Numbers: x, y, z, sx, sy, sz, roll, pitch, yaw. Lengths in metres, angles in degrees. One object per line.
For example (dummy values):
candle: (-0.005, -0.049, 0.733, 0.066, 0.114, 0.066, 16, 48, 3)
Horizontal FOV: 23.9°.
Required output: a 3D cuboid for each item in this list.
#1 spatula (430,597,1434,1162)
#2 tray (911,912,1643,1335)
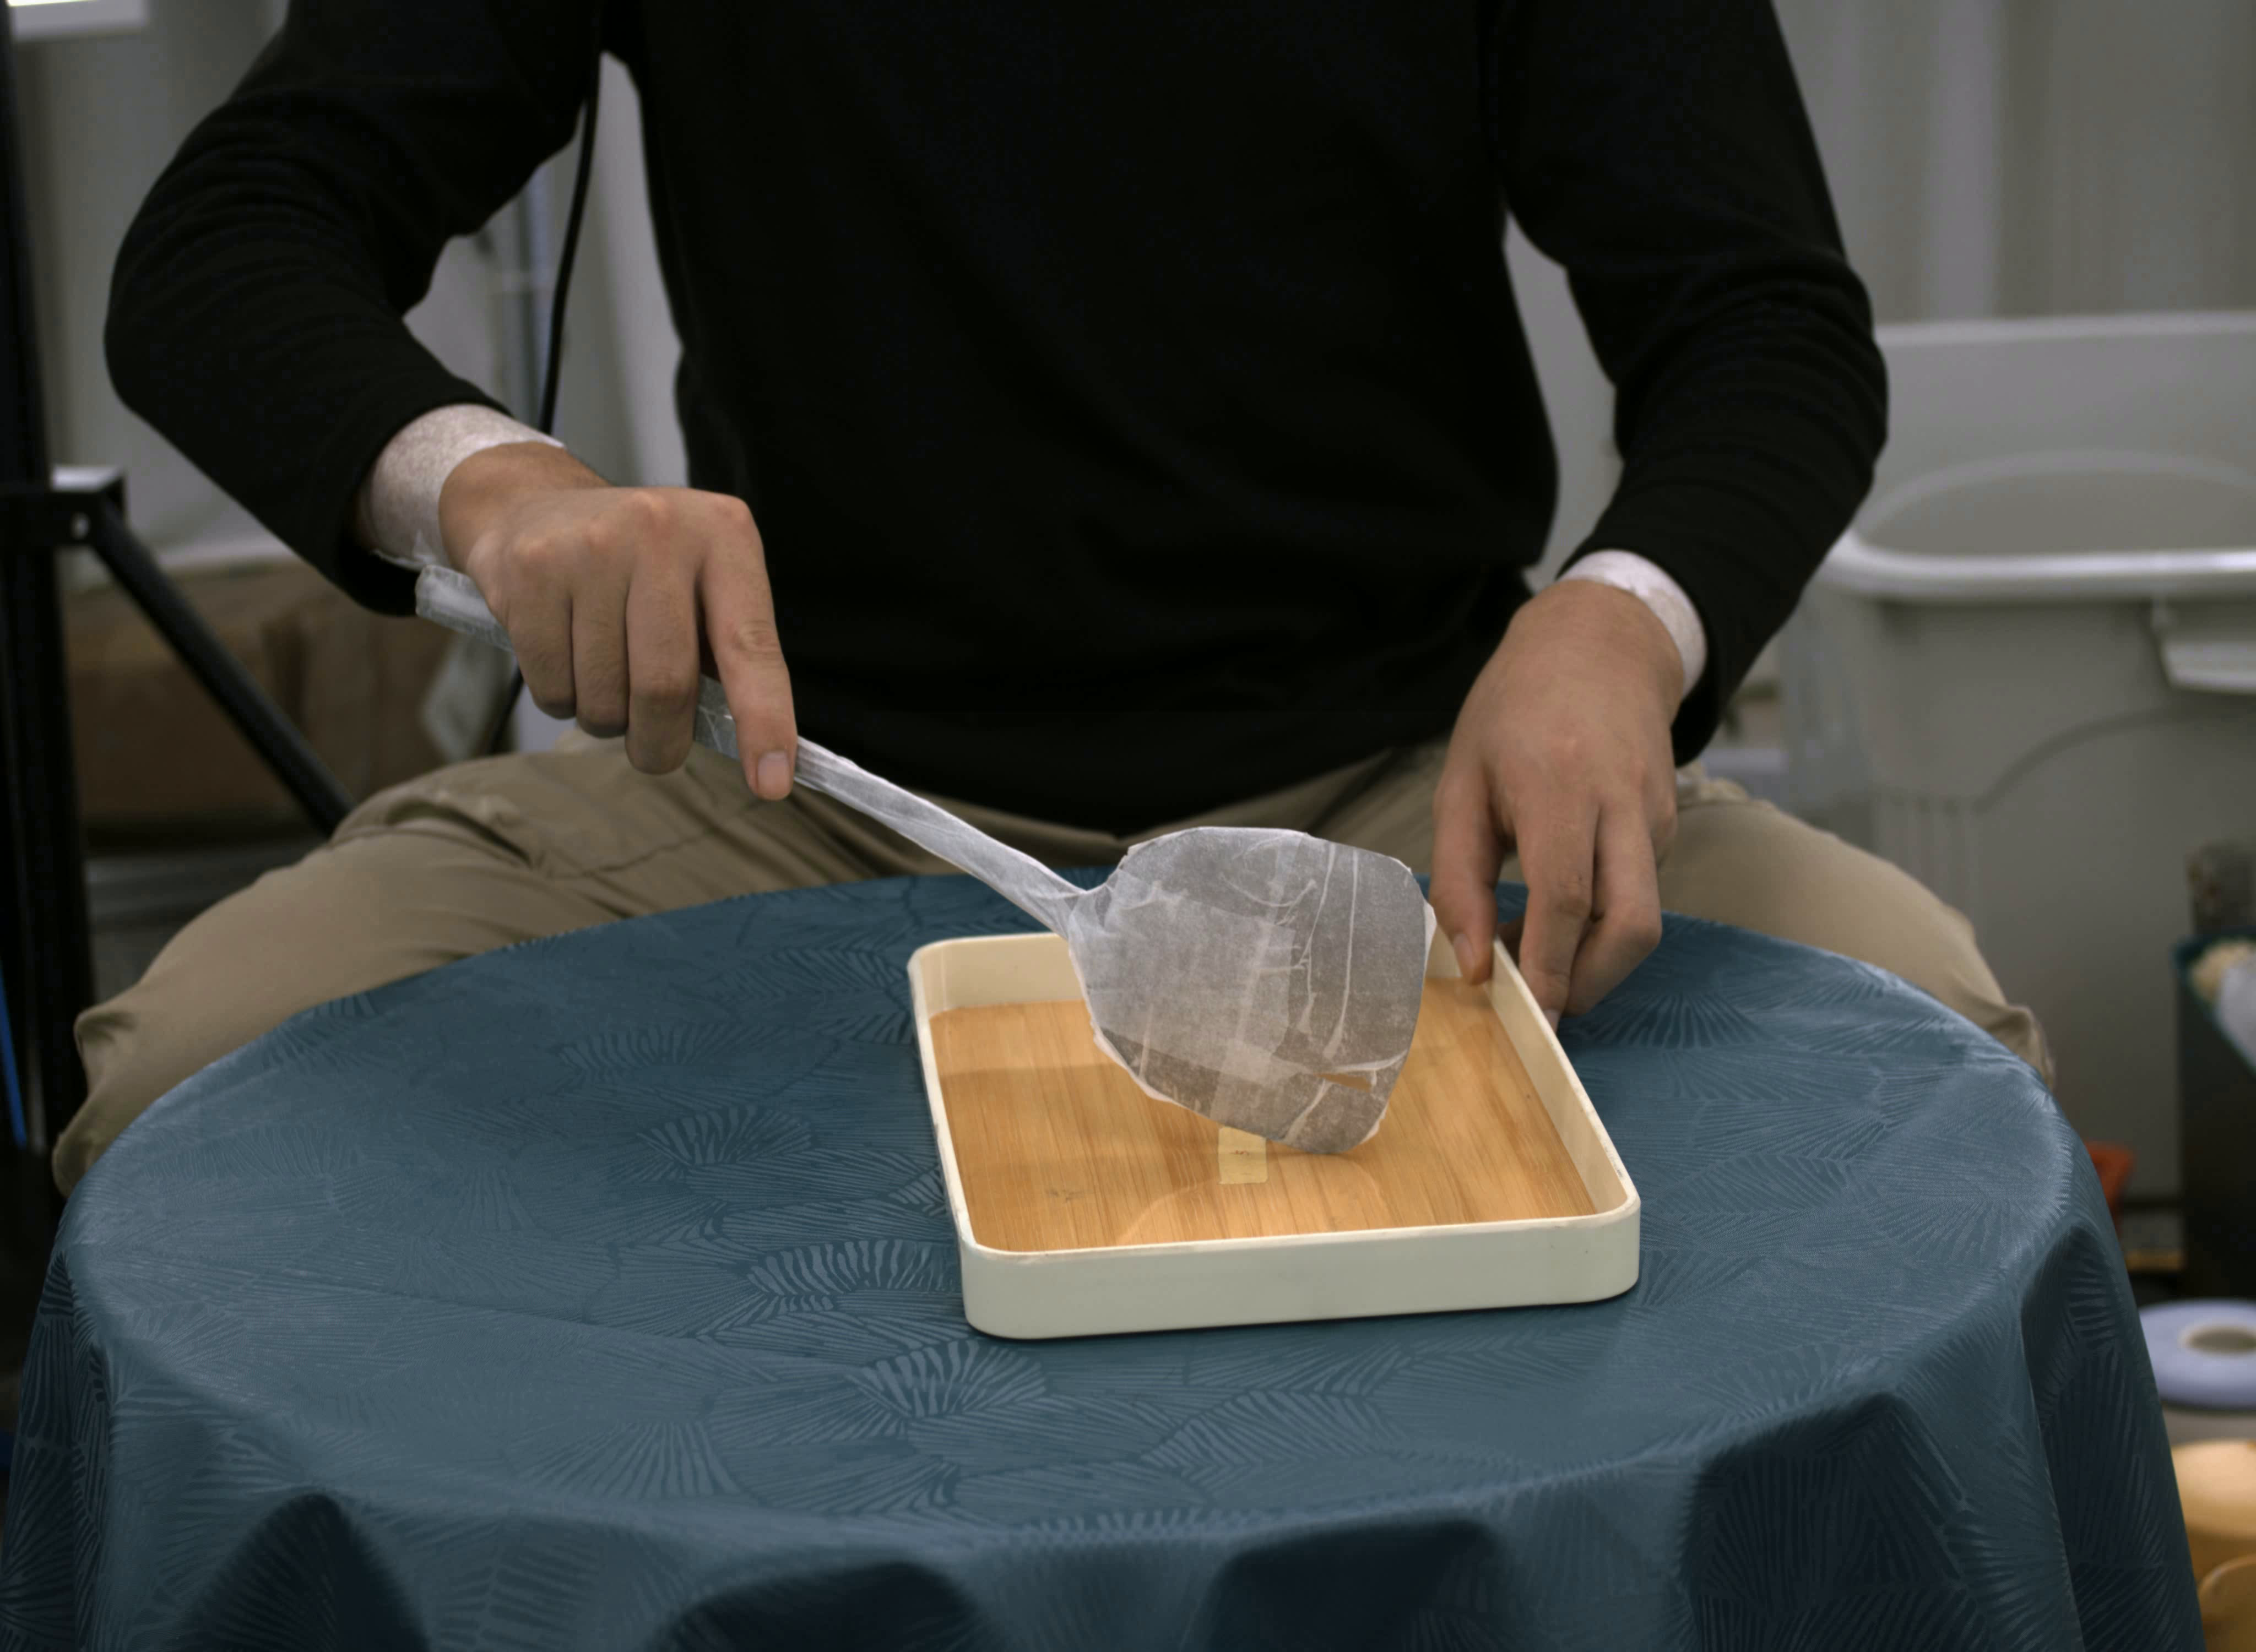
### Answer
spatula: (-0.067, -0.005, 1.619, 0.372, 0.099, 0.044, 27, 25, 32)
tray: (0.037, 0.084, 1.585, 0.190, 0.027, 0.302, -4, 16, -3)
